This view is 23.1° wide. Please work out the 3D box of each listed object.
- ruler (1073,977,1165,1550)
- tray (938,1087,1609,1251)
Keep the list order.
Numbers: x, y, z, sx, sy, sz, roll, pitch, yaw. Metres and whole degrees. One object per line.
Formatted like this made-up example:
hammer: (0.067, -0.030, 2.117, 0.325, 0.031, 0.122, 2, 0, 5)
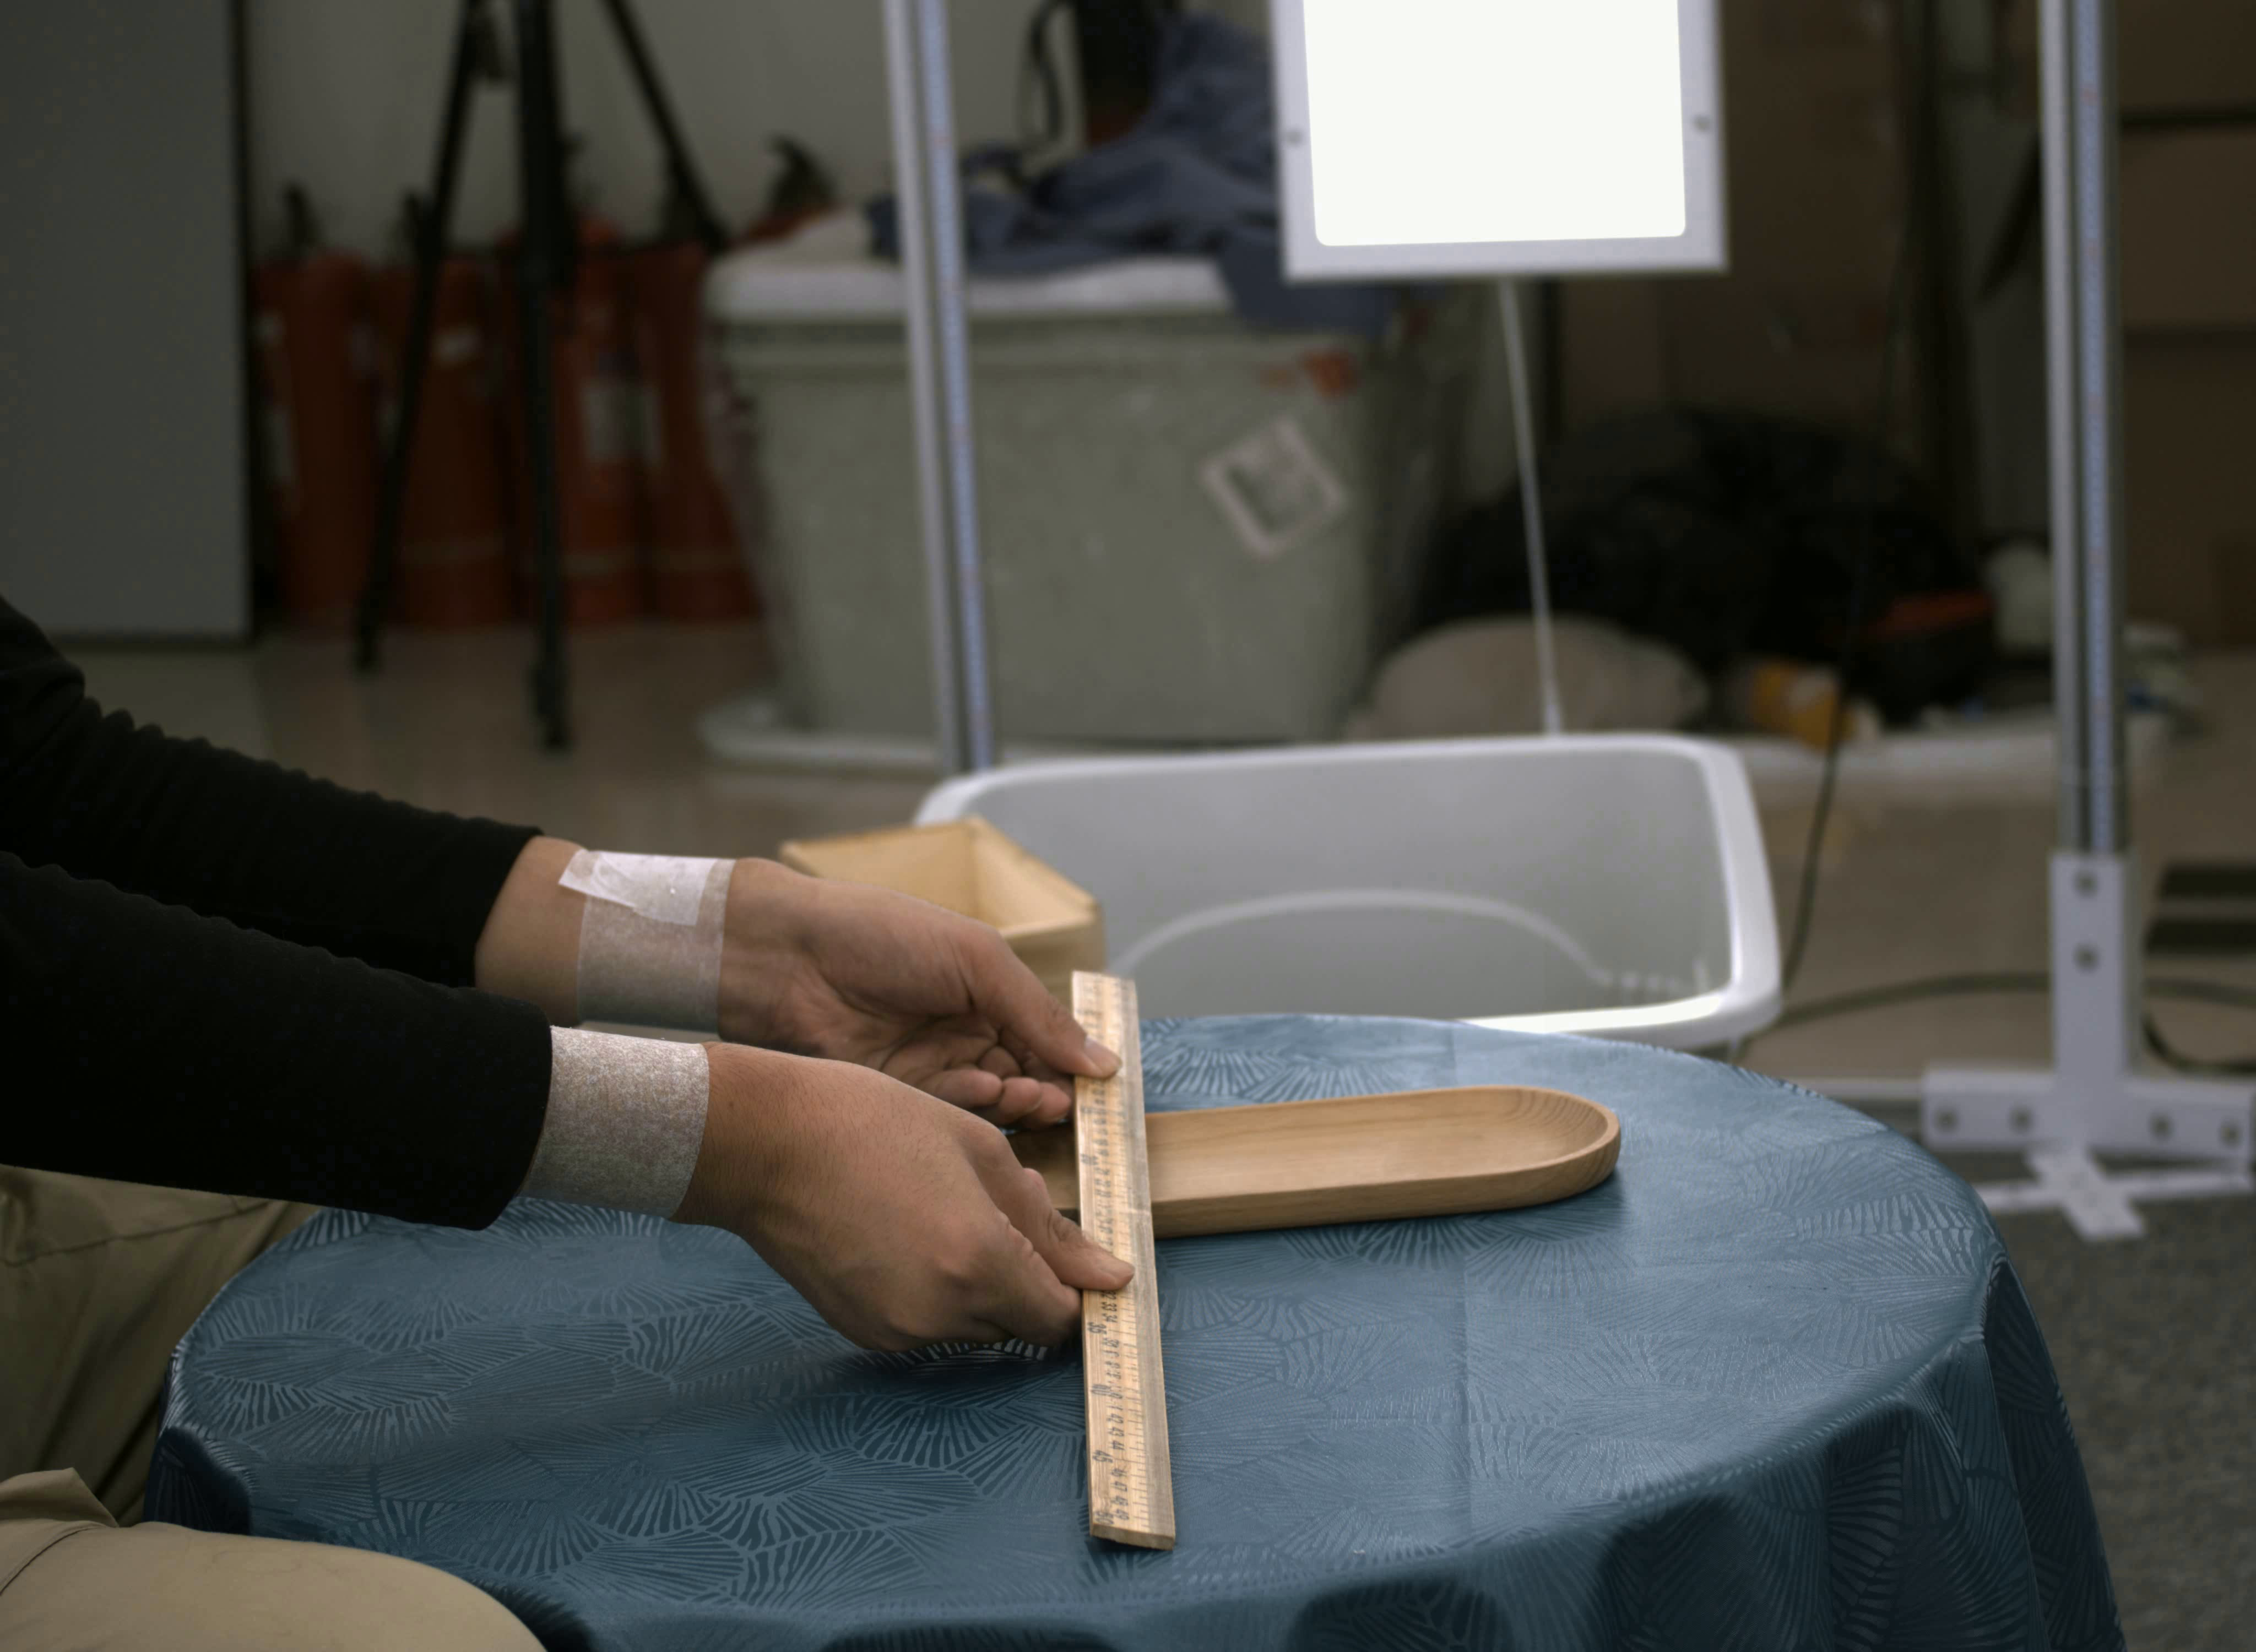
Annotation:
ruler: (-0.005, 0.130, 1.806, 0.026, 0.006, 0.499, 8, 17, -3)
tray: (0.050, 0.118, 1.882, 0.230, 0.020, 0.101, -7, 12, 0)
